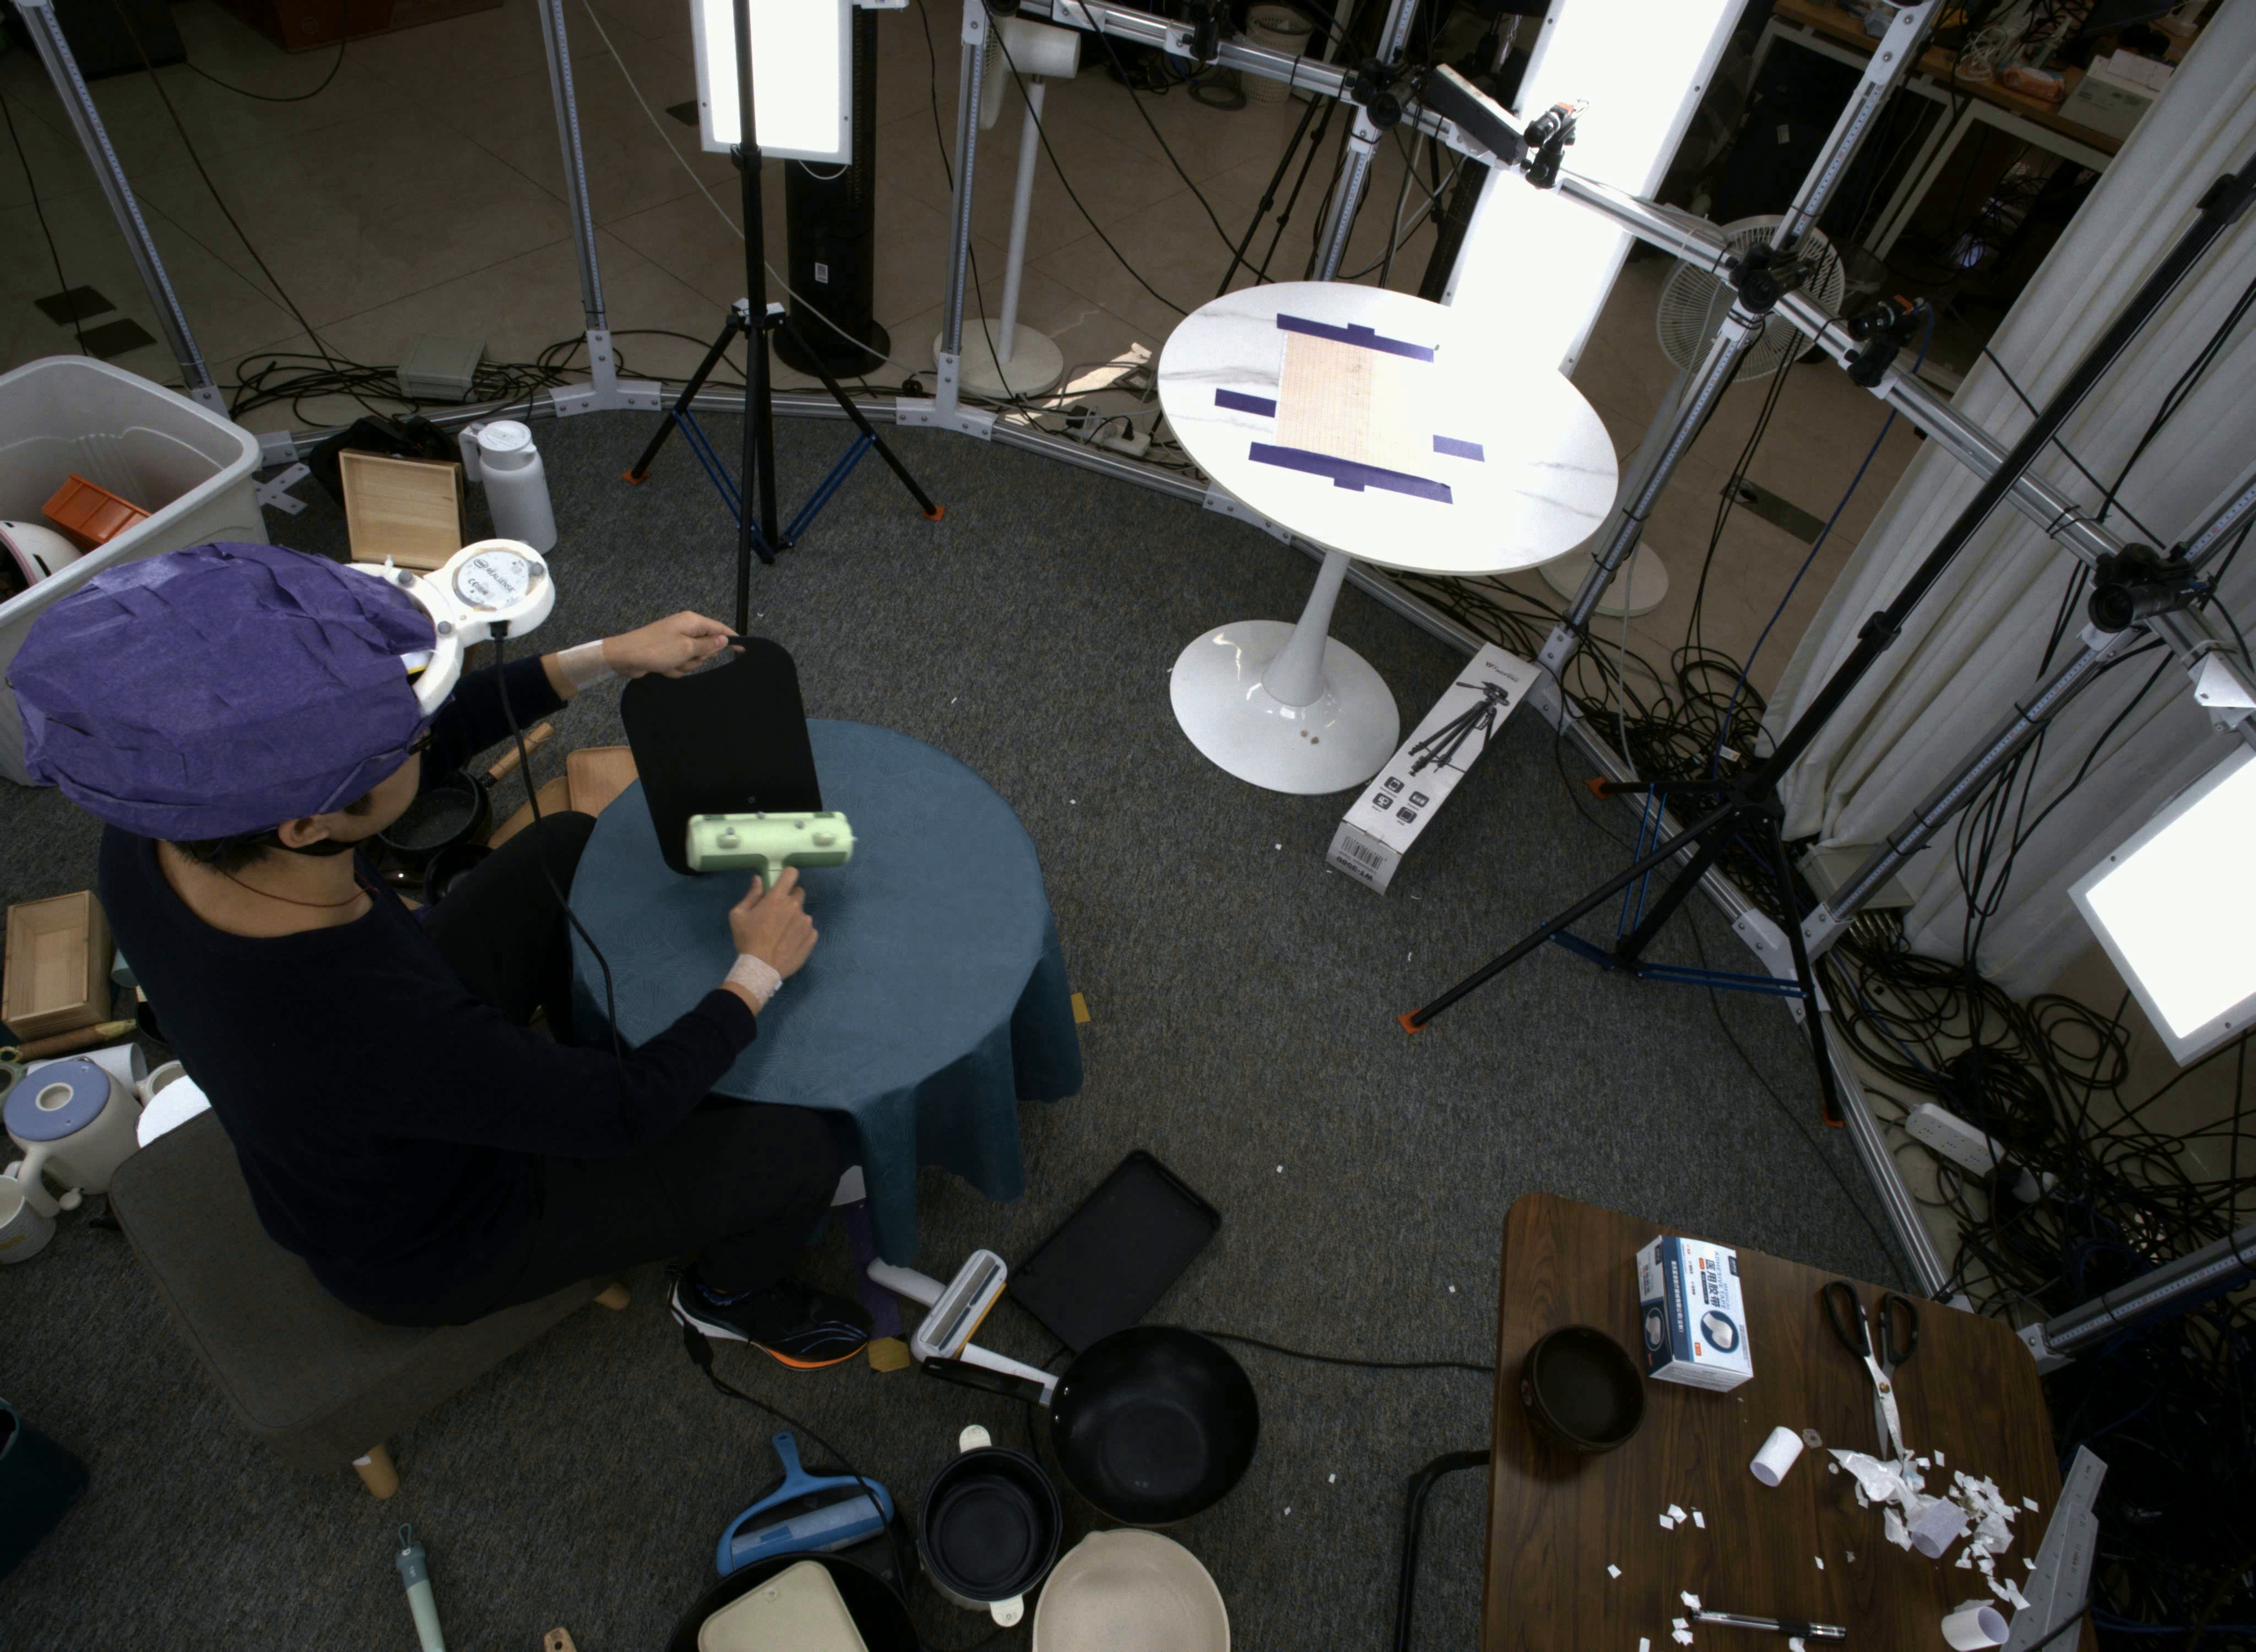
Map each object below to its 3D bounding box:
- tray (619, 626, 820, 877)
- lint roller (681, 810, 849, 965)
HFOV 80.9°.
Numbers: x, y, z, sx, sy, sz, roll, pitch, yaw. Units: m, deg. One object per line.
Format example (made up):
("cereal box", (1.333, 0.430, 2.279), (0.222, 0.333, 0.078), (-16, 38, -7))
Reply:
("tray", (-0.490, -0.090, 1.557), (0.212, 0.336, 0.009), (-23, 44, -24))
("lint roller", (-0.423, 0.066, 1.550), (0.201, 0.082, 0.181), (-3, 66, -31))
